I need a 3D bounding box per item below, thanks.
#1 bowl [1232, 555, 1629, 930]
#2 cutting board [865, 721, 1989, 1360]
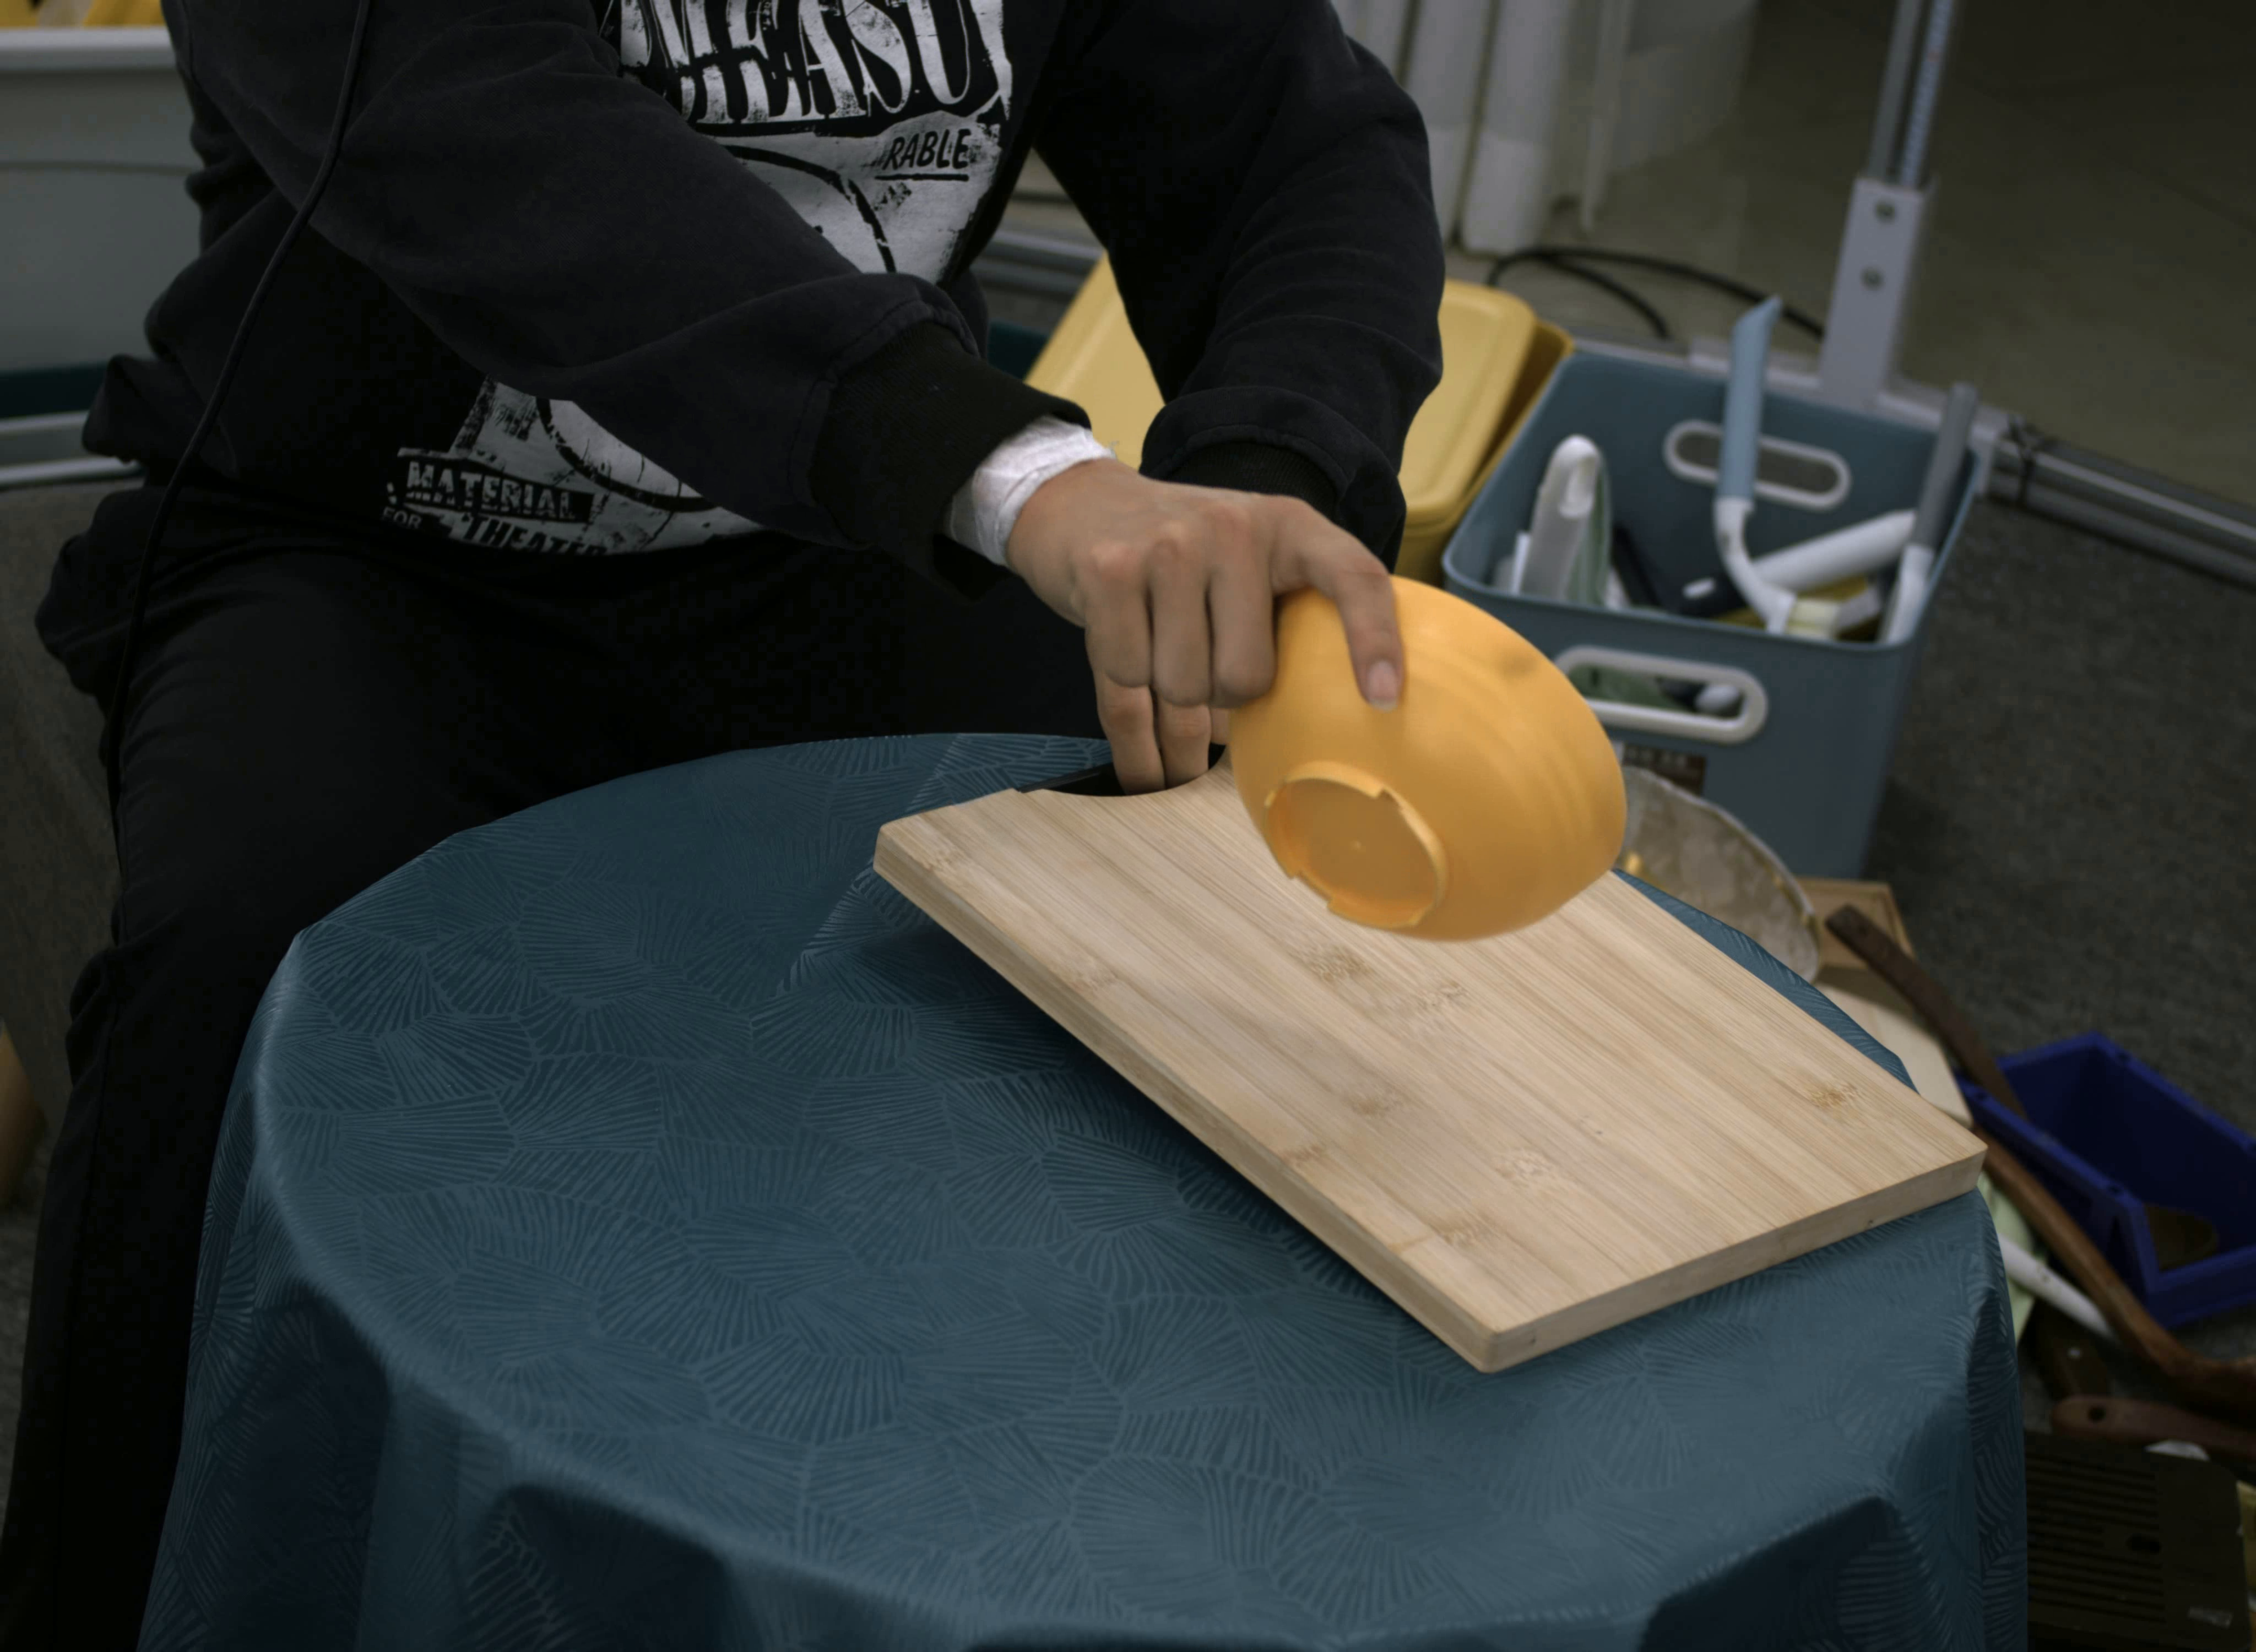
[{"bbox_3d":[0.087,-0.014,1.741,0.146,0.144,0.060,21,51,25],"label":"bowl"},{"bbox_3d":[0.102,0.062,1.898,0.249,0.023,0.351,-16,39,-37],"label":"cutting board"}]
